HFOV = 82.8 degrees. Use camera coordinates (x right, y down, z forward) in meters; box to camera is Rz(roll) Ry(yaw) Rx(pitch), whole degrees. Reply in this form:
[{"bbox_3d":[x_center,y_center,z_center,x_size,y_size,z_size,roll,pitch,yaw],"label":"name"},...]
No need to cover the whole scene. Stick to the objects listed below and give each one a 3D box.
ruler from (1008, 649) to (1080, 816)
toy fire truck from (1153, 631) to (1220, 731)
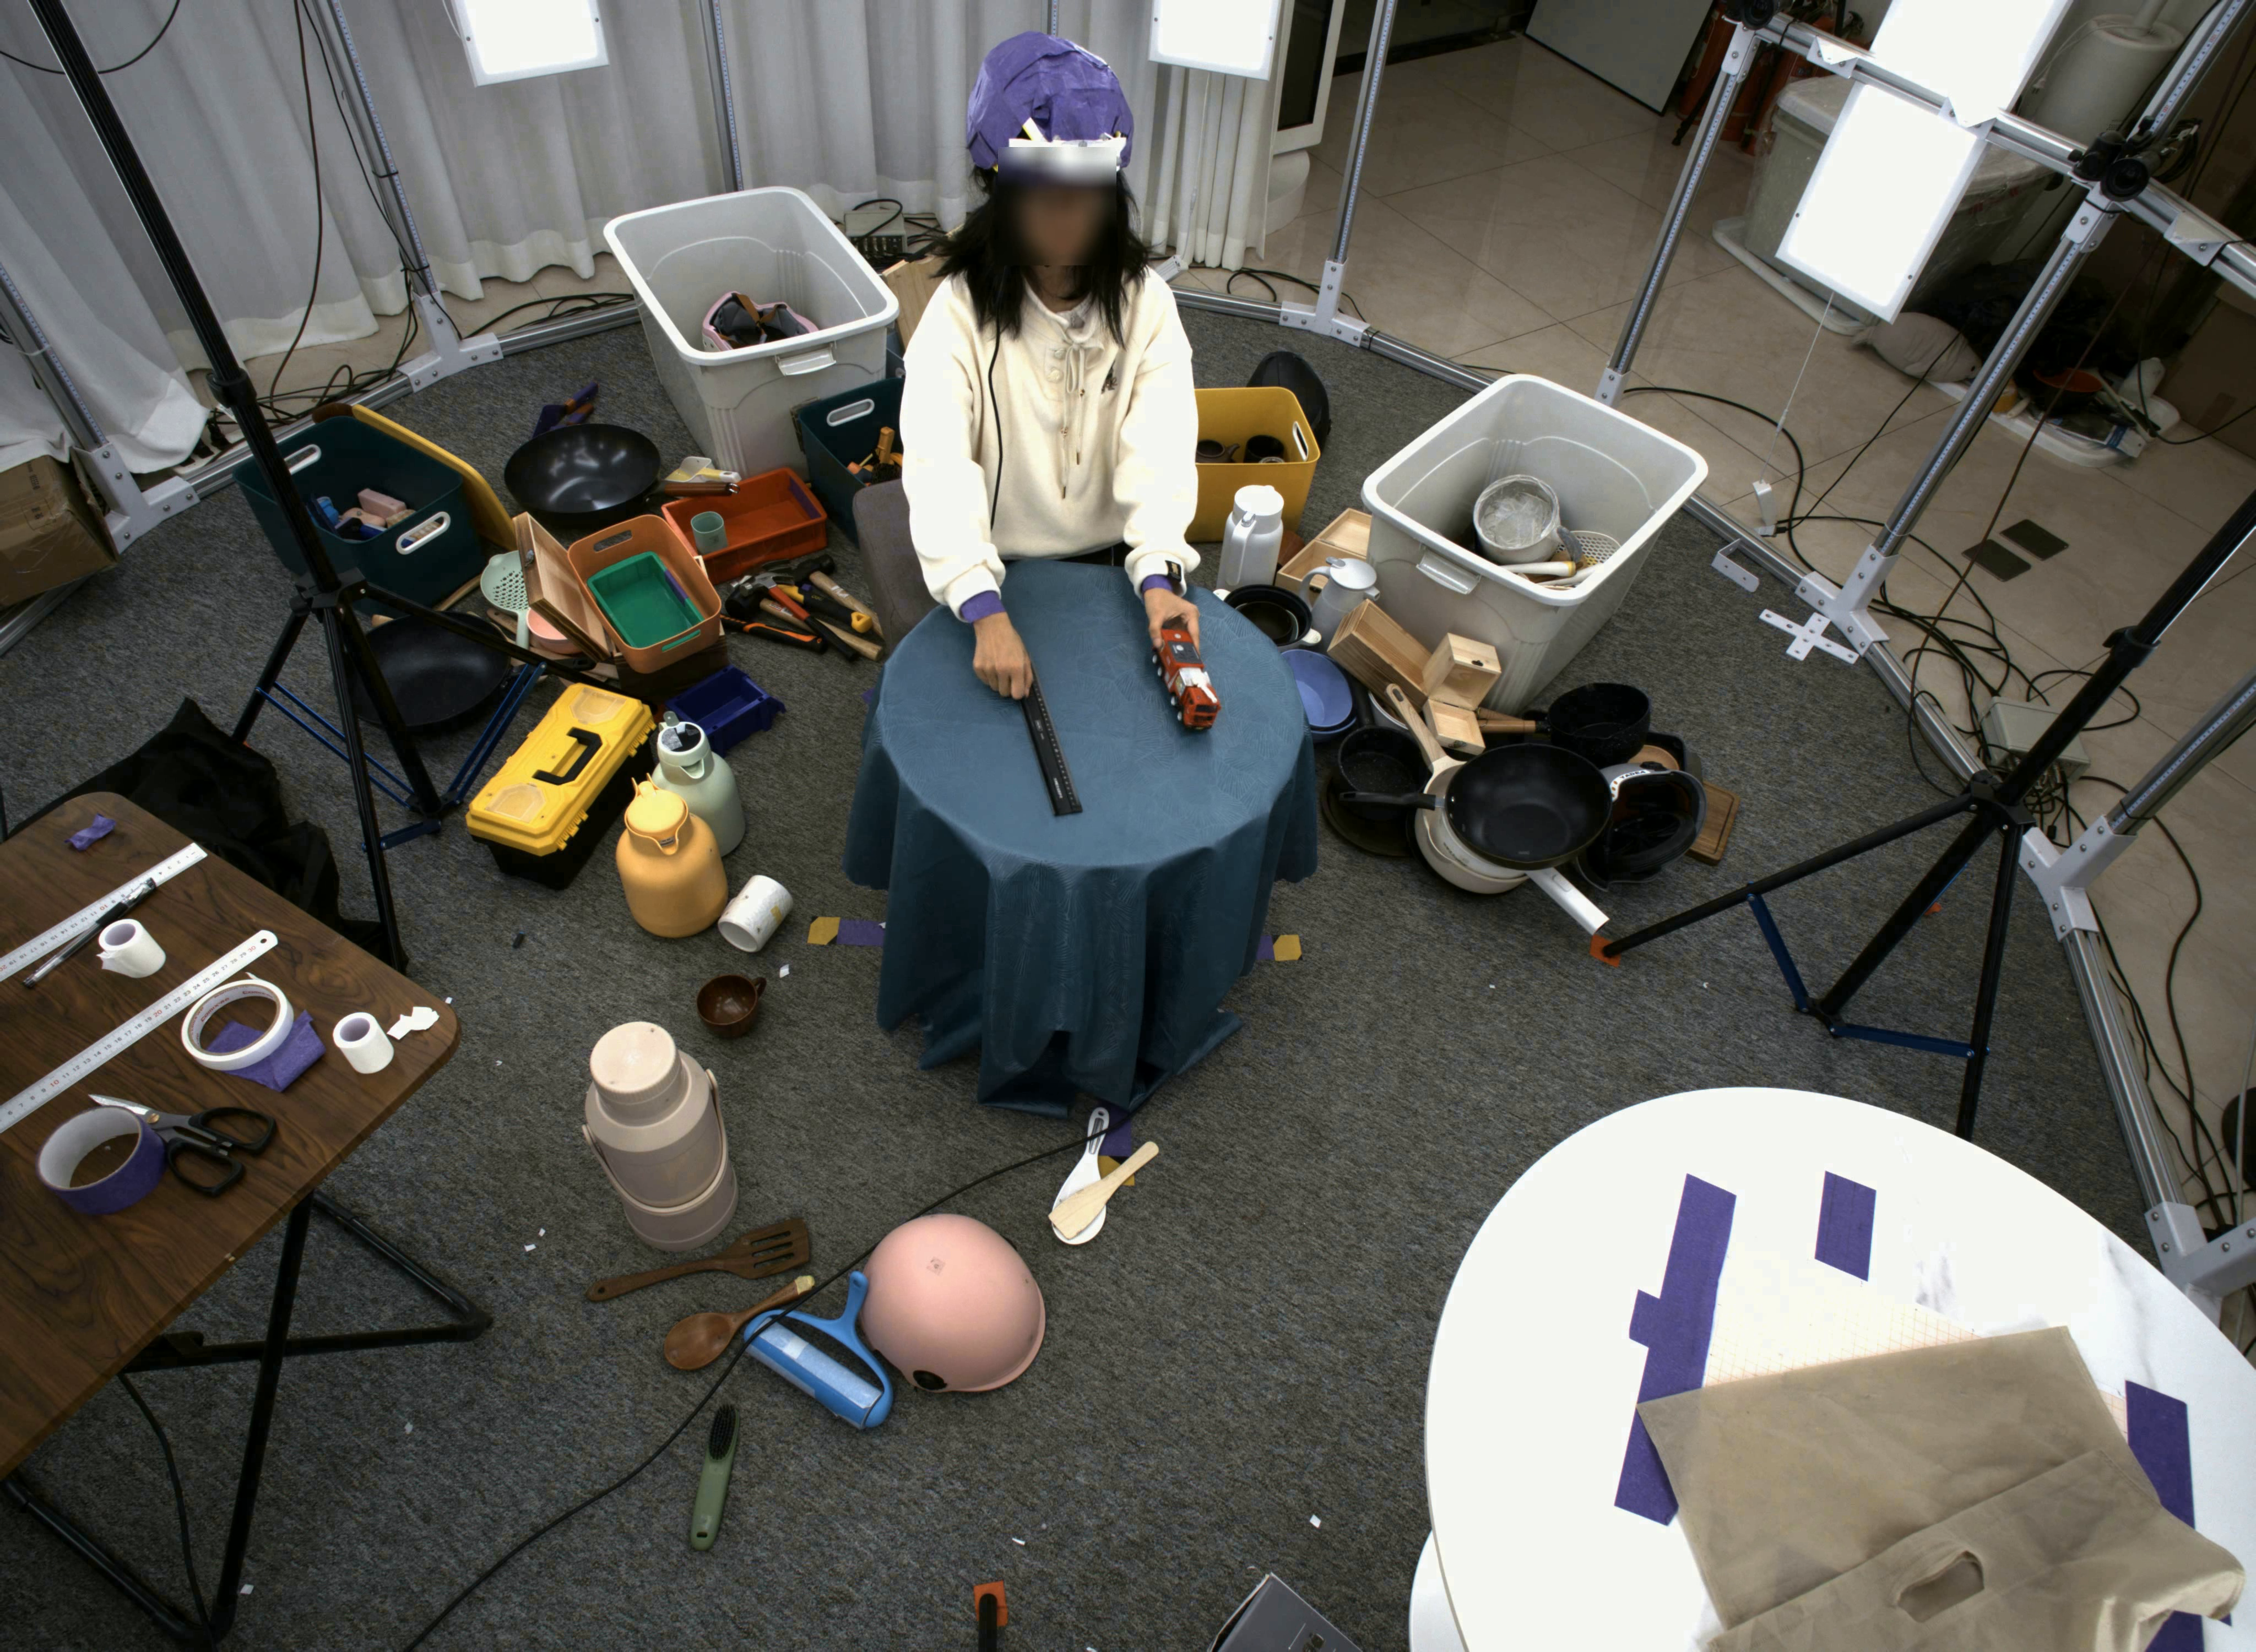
[{"bbox_3d":[-0.118,-0.137,1.770,0.039,0.017,0.320,-8,50,-12],"label":"ruler"},{"bbox_3d":[0.082,-0.207,1.813,0.054,0.069,0.172,0,46,-24],"label":"toy fire truck"}]
